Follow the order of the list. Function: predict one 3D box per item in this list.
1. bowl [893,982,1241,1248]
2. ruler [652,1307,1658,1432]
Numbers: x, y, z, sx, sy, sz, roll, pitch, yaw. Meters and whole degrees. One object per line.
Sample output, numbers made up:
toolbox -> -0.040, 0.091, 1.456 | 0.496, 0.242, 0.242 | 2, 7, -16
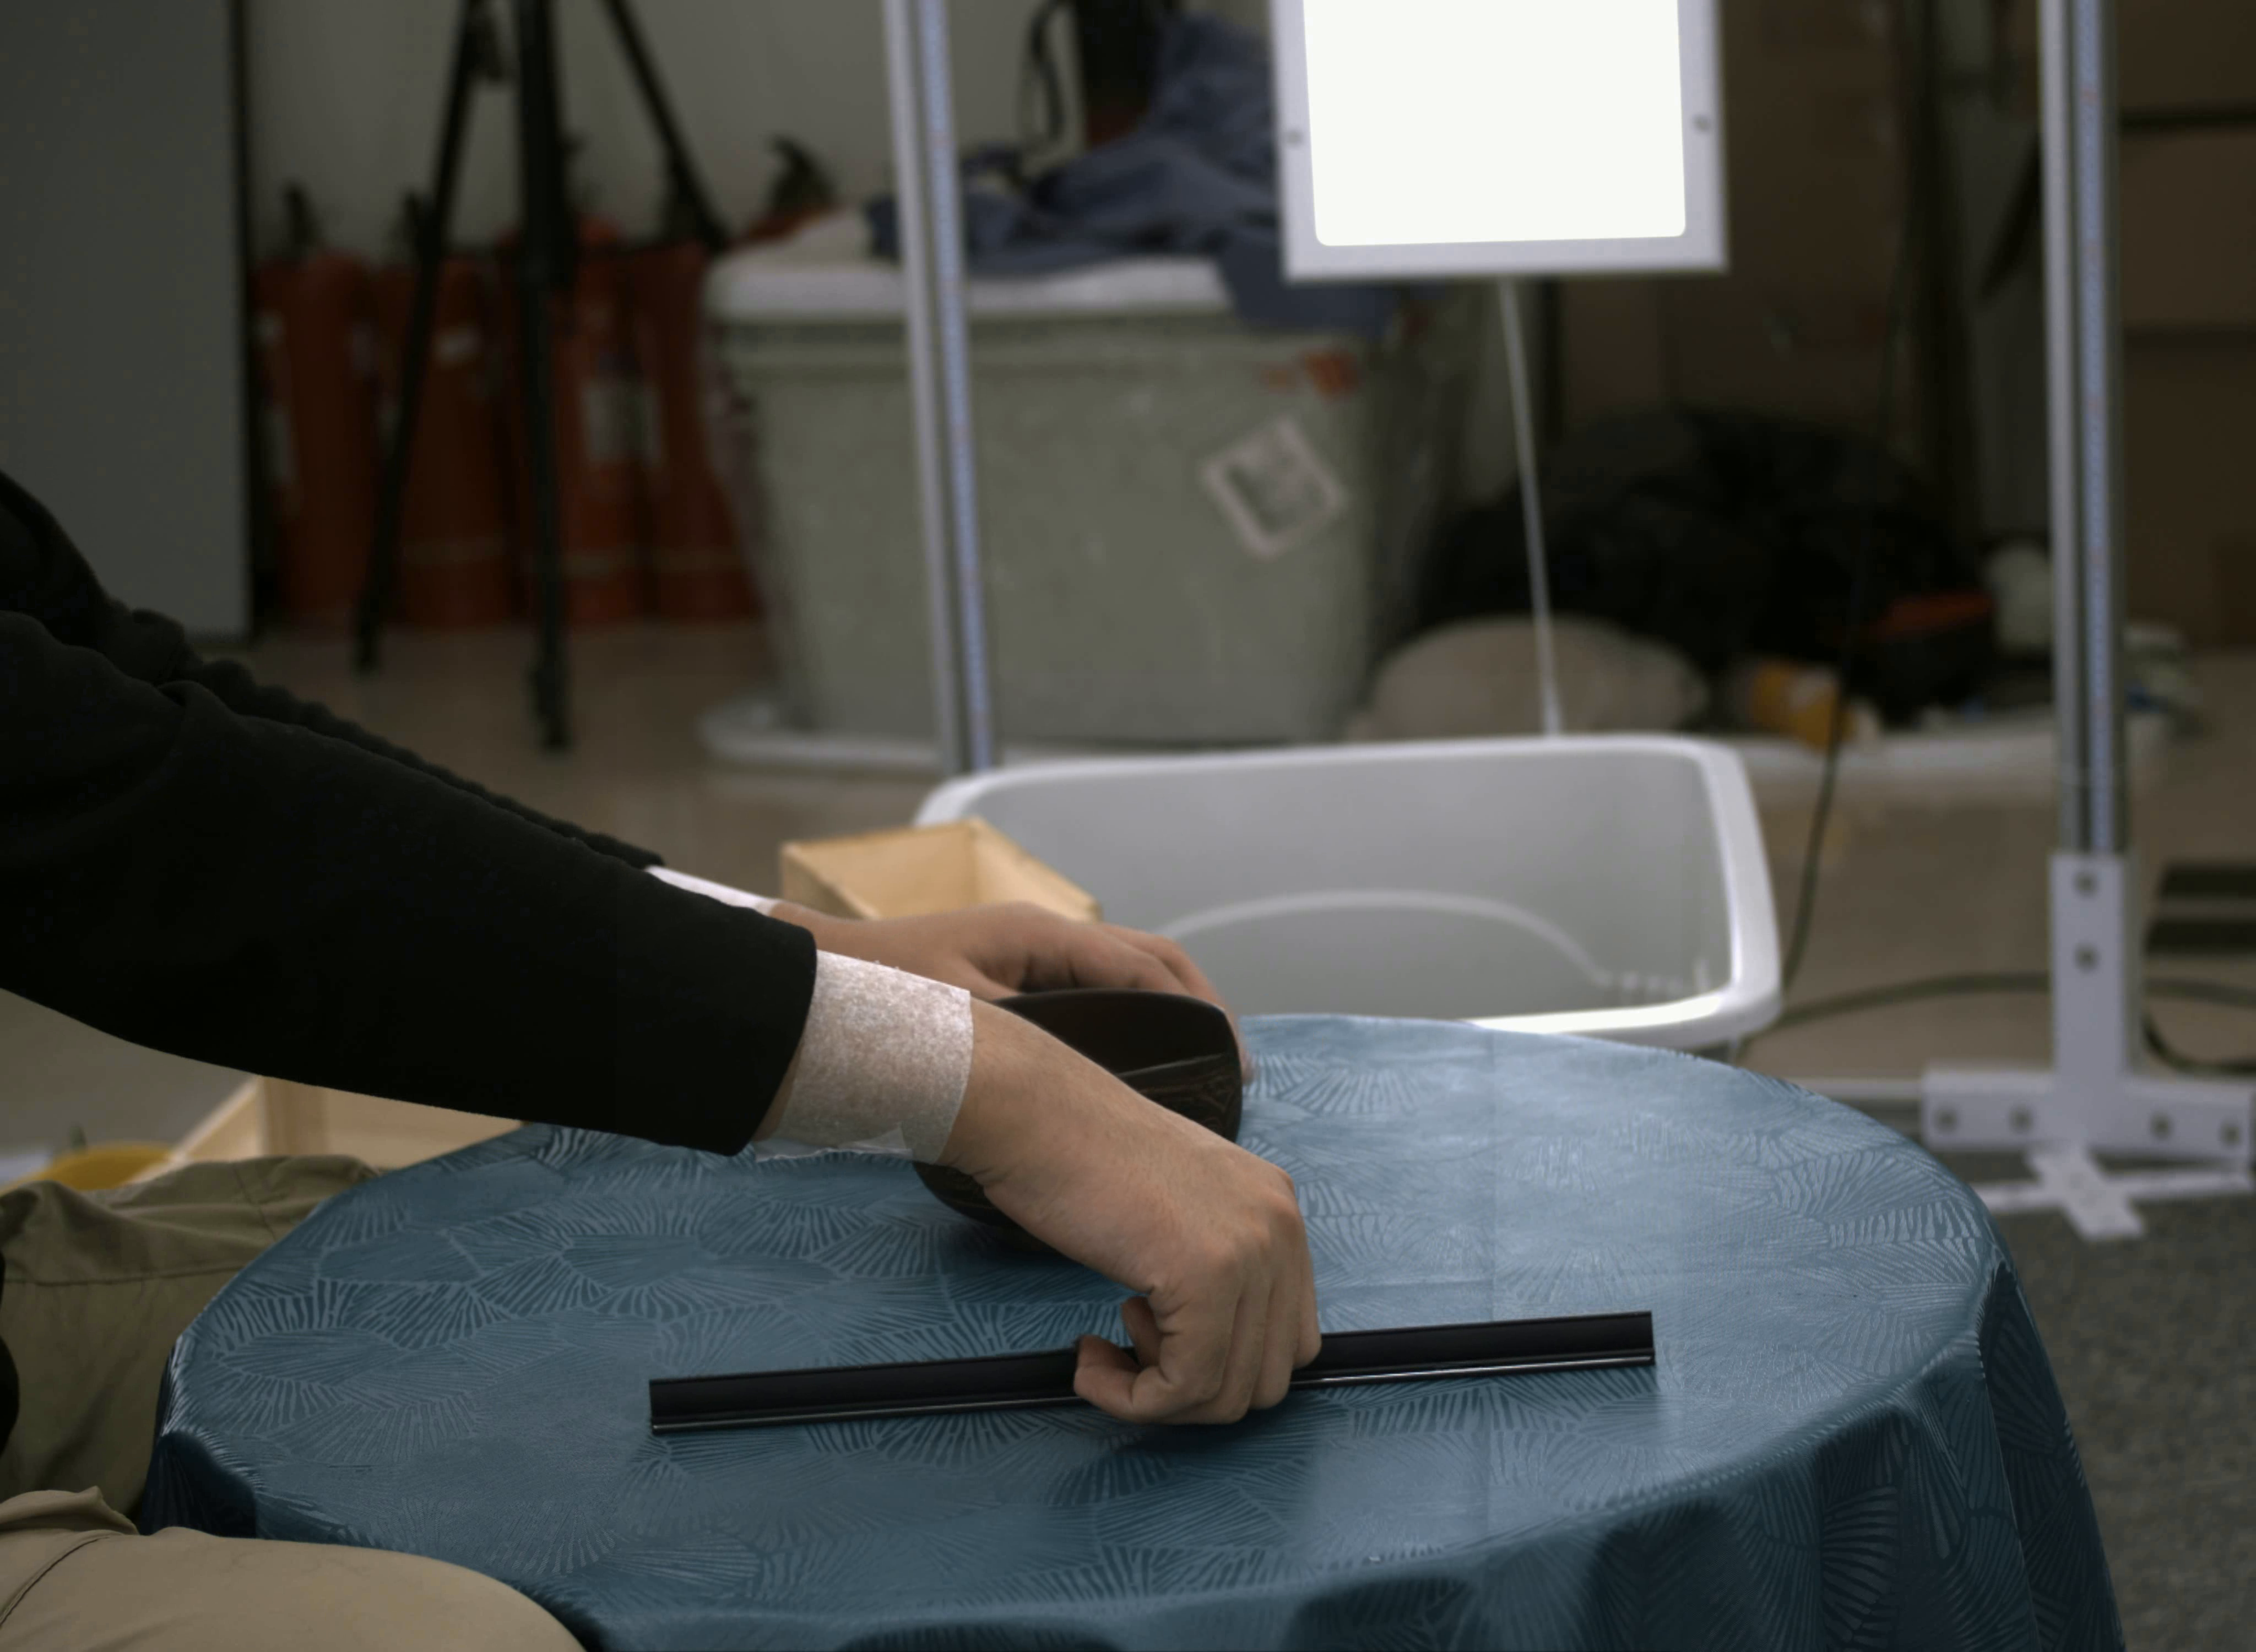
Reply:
bowl -> -0.019, 0.101, 1.856 | 0.118, 0.070, 0.118 | -4, 13, 0
ruler -> 0.008, 0.163, 1.709 | 0.312, 0.017, 0.039 | -4, 13, 3
